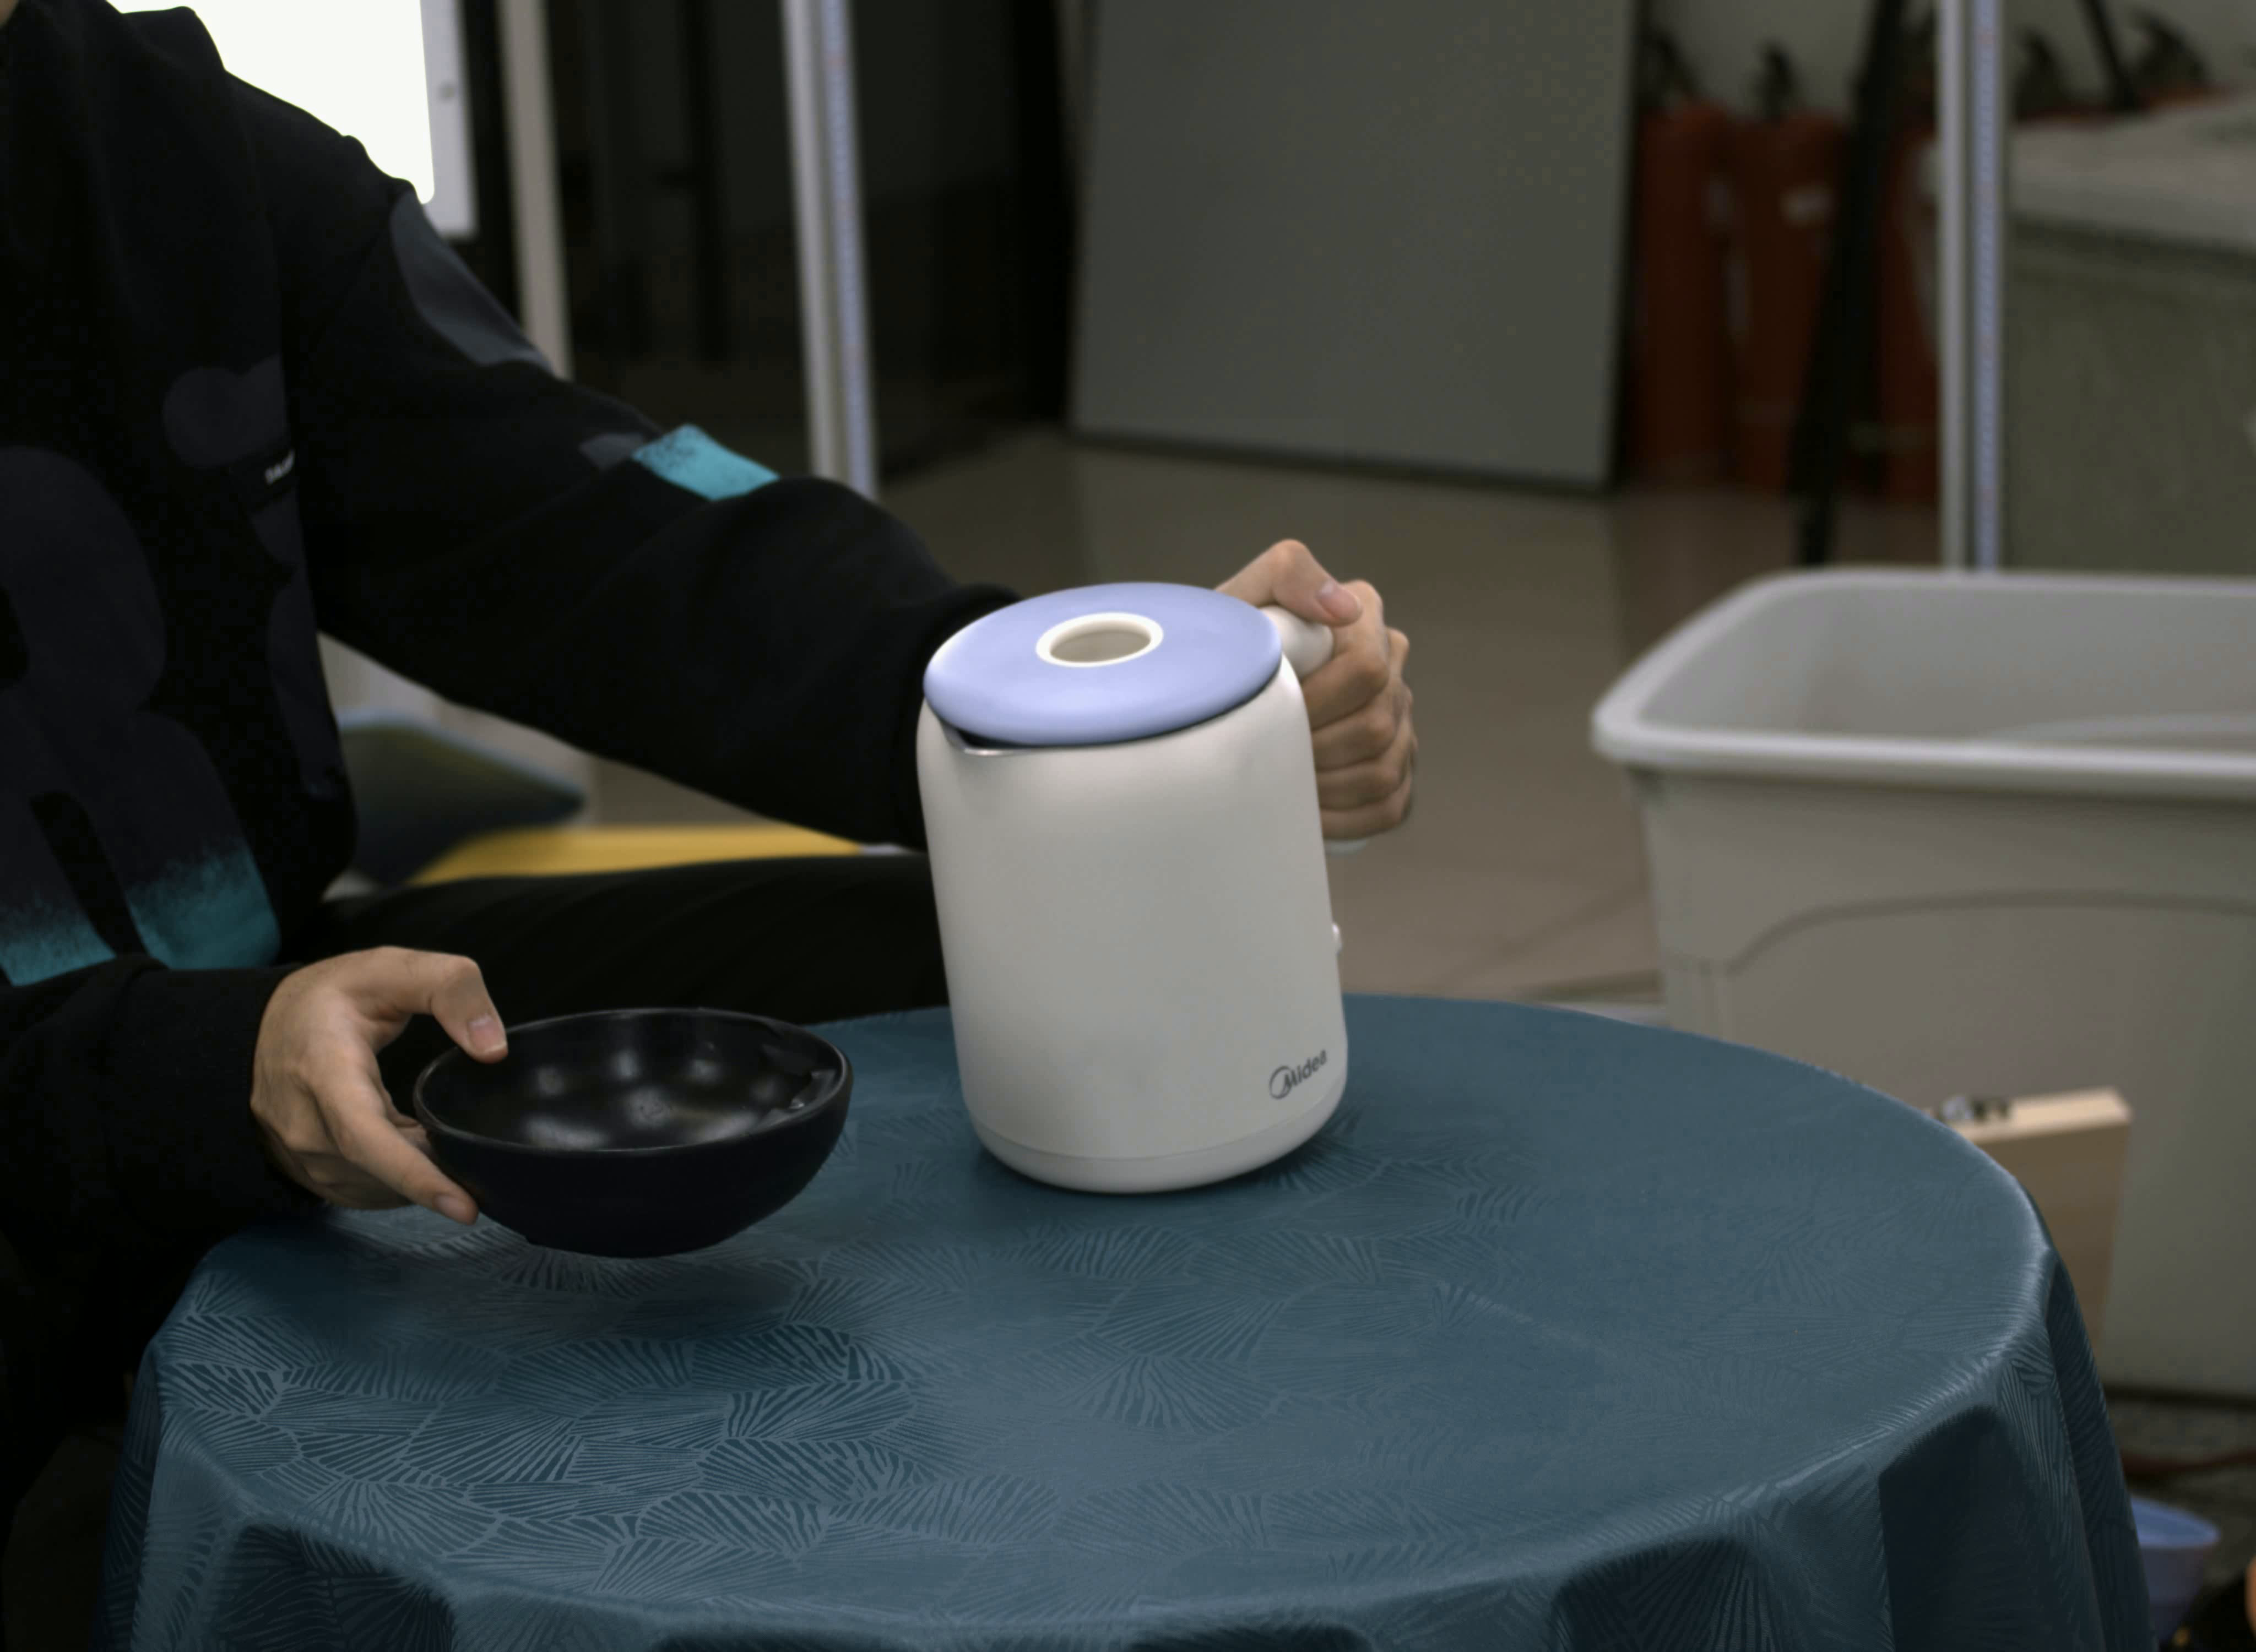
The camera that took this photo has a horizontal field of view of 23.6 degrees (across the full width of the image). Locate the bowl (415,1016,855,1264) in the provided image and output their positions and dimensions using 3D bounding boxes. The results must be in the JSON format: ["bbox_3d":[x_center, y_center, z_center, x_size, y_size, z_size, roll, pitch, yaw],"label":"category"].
[{"bbox_3d":[-0.152,0.102,1.693,0.138,0.050,0.140,-3,14,0],"label":"bowl"}]

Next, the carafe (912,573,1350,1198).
[{"bbox_3d":[0.014,0.010,1.800,0.133,0.184,0.188,14,30,37],"label":"carafe"}]
